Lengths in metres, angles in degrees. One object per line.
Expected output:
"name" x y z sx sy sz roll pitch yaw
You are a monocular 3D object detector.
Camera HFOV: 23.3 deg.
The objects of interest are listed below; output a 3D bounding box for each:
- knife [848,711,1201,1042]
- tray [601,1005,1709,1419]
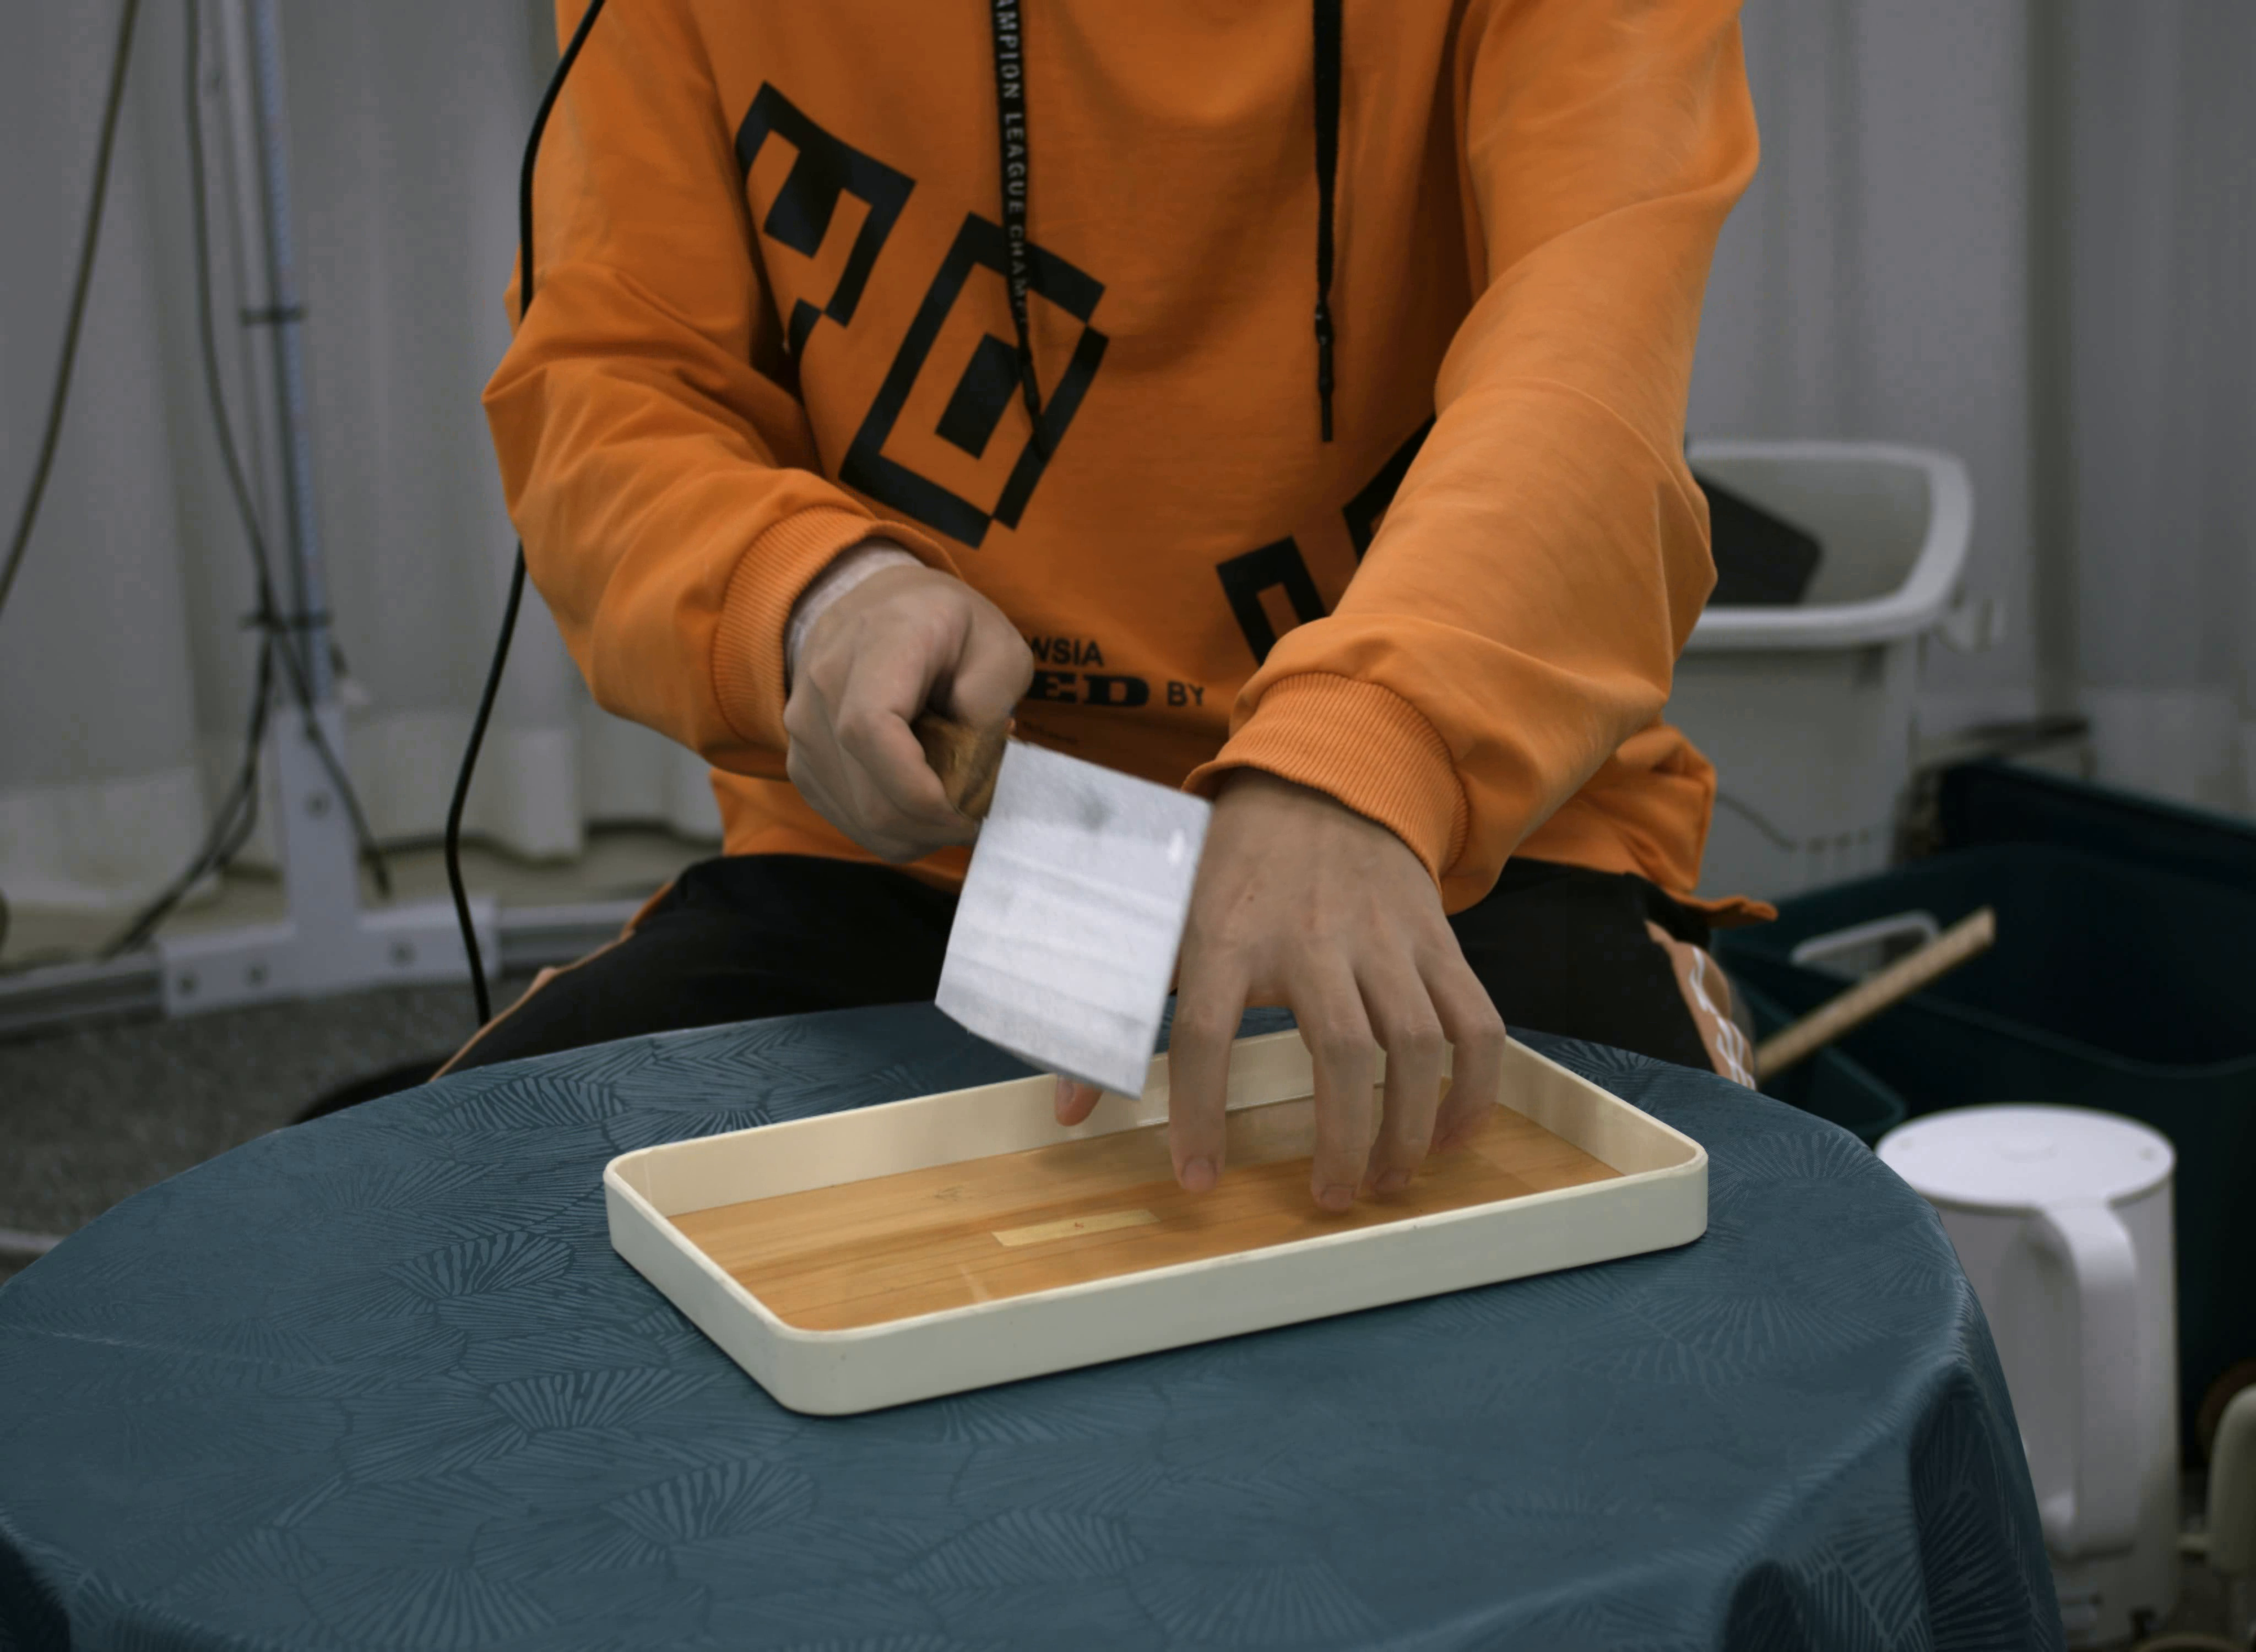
"knife" -0.039 0.015 1.705 0.021 0.093 0.307 12 2 -21
"tray" 0.007 0.114 1.664 0.299 0.027 0.193 -9 17 -21
